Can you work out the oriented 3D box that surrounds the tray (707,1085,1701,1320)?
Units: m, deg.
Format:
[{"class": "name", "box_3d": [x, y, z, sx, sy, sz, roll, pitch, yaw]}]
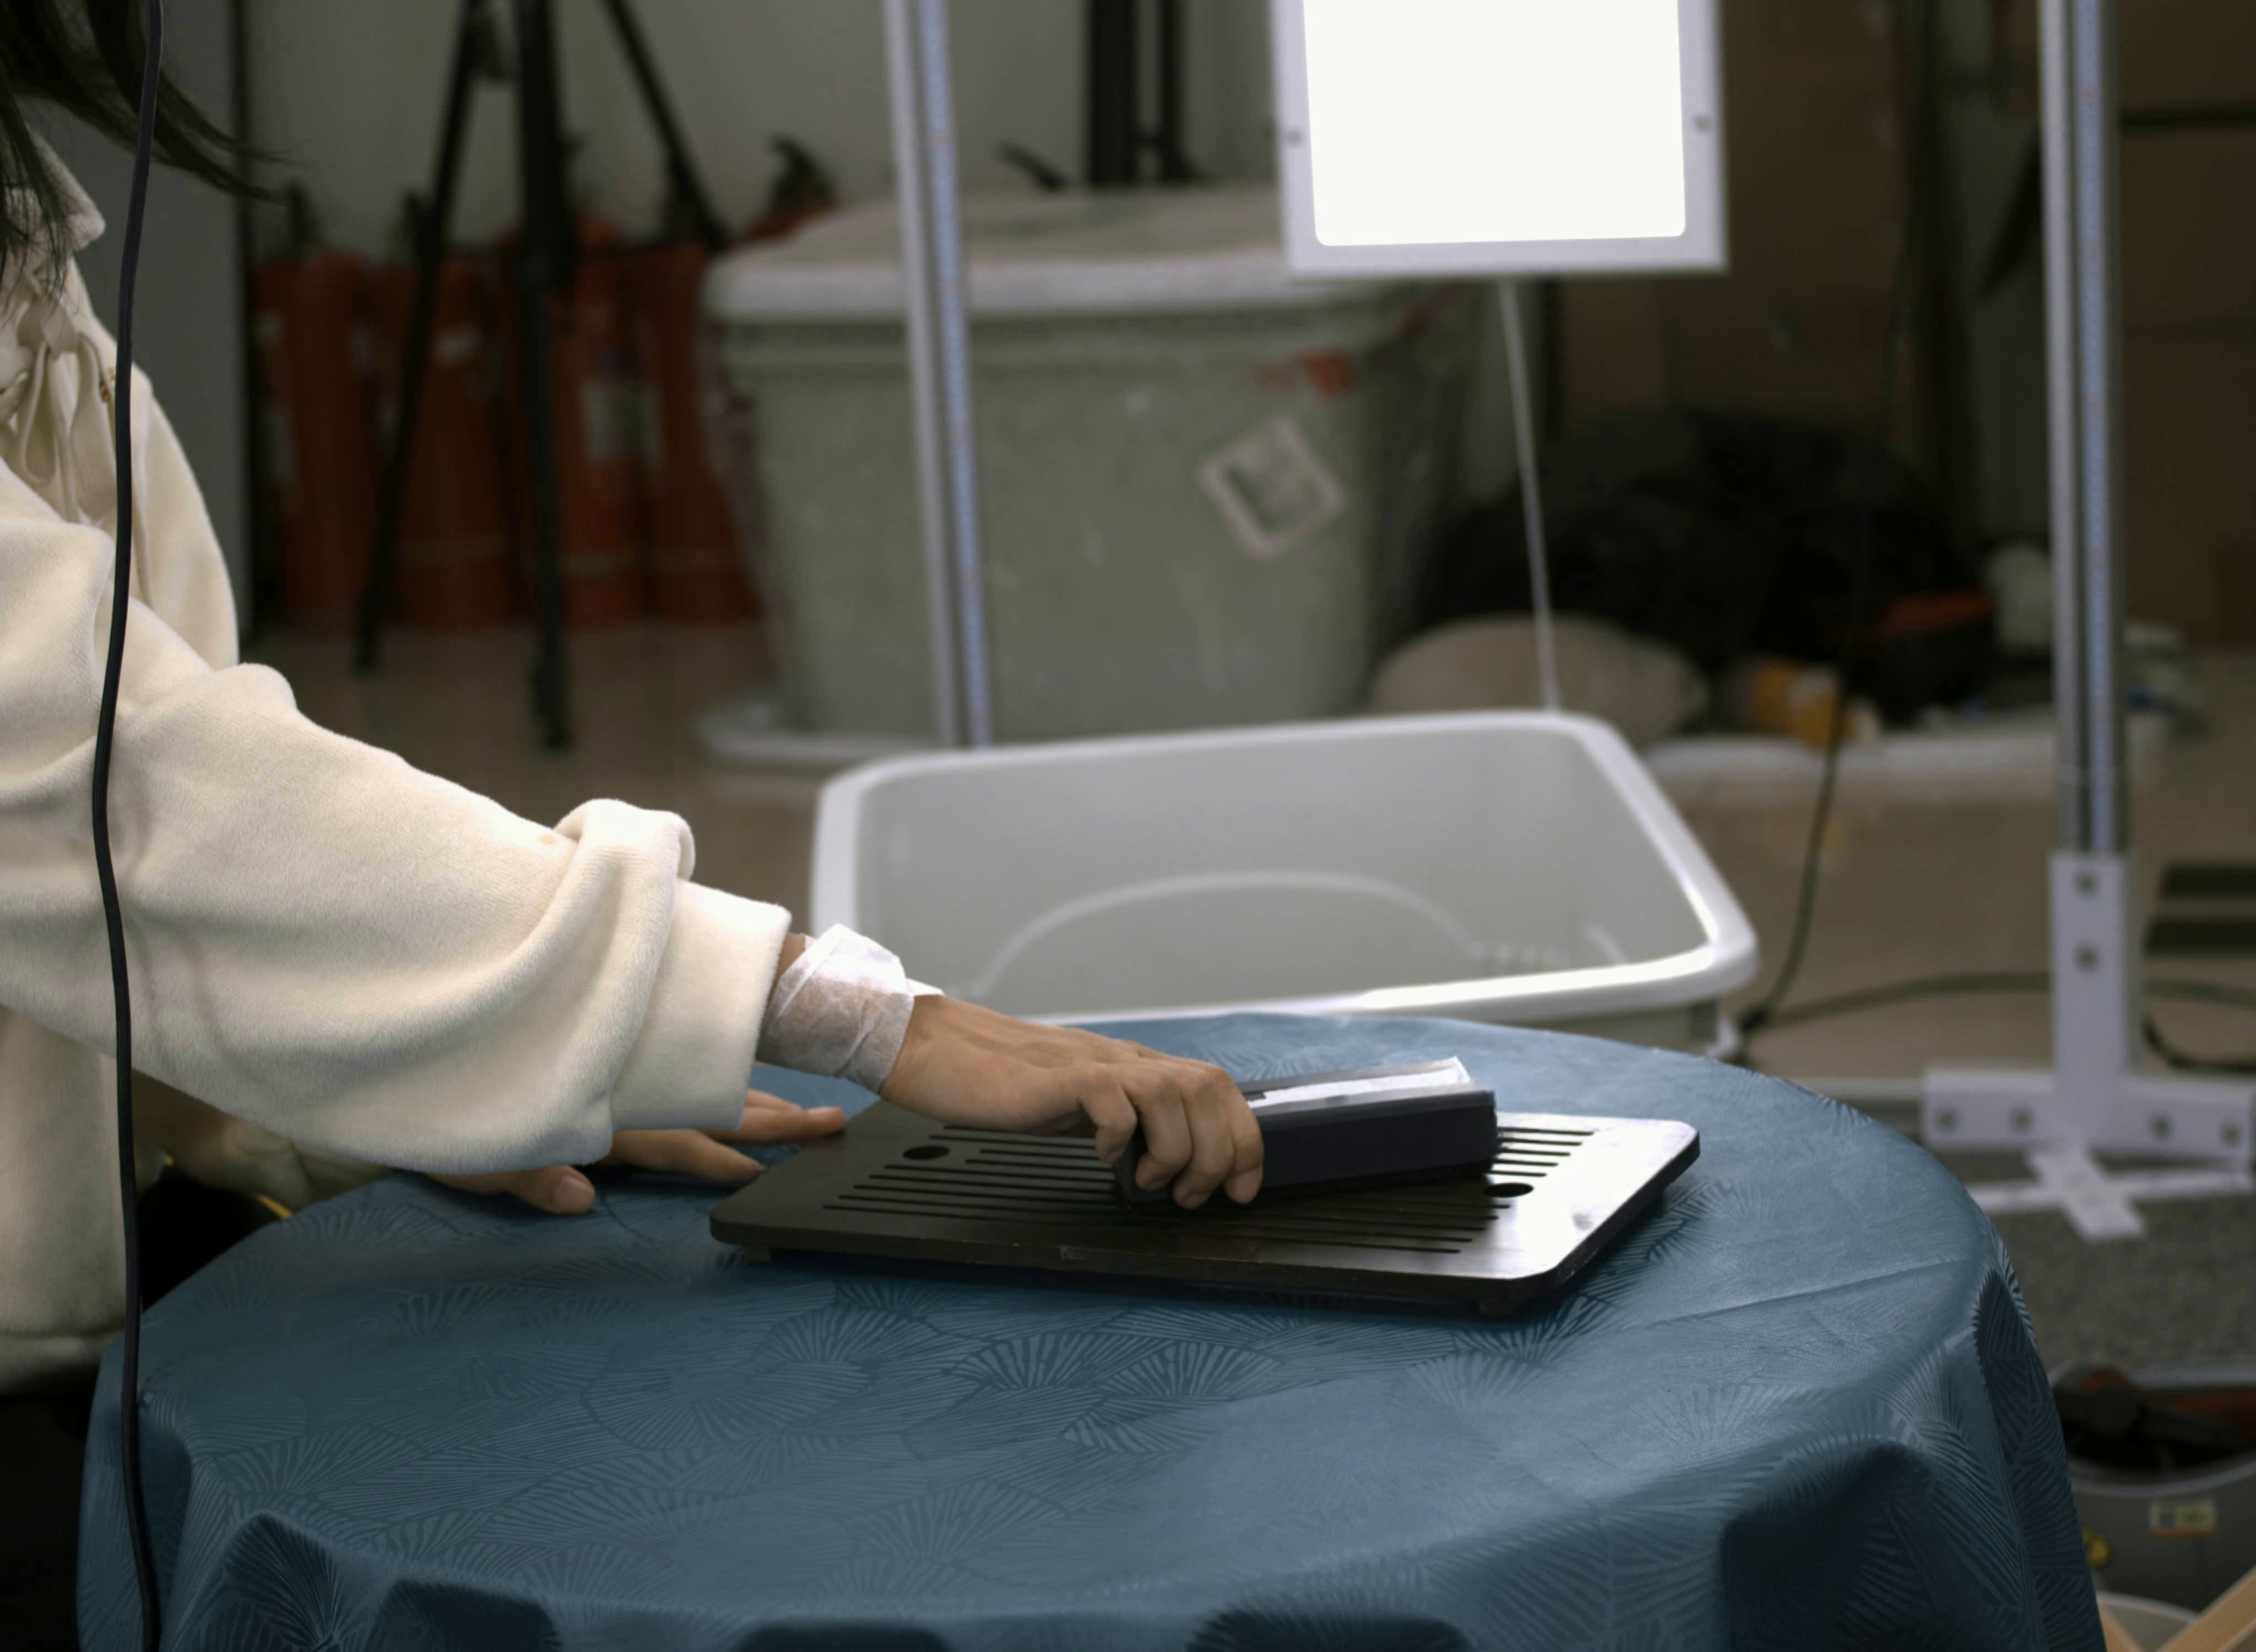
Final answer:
[{"class": "tray", "box_3d": [0.026, 0.125, 1.856, 0.311, 0.019, 0.166, 2, 15, 26]}]

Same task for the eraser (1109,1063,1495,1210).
[{"class": "eraser", "box_3d": [0.059, 0.104, 1.844, 0.124, 0.030, 0.053, -7, 10, -5]}]
